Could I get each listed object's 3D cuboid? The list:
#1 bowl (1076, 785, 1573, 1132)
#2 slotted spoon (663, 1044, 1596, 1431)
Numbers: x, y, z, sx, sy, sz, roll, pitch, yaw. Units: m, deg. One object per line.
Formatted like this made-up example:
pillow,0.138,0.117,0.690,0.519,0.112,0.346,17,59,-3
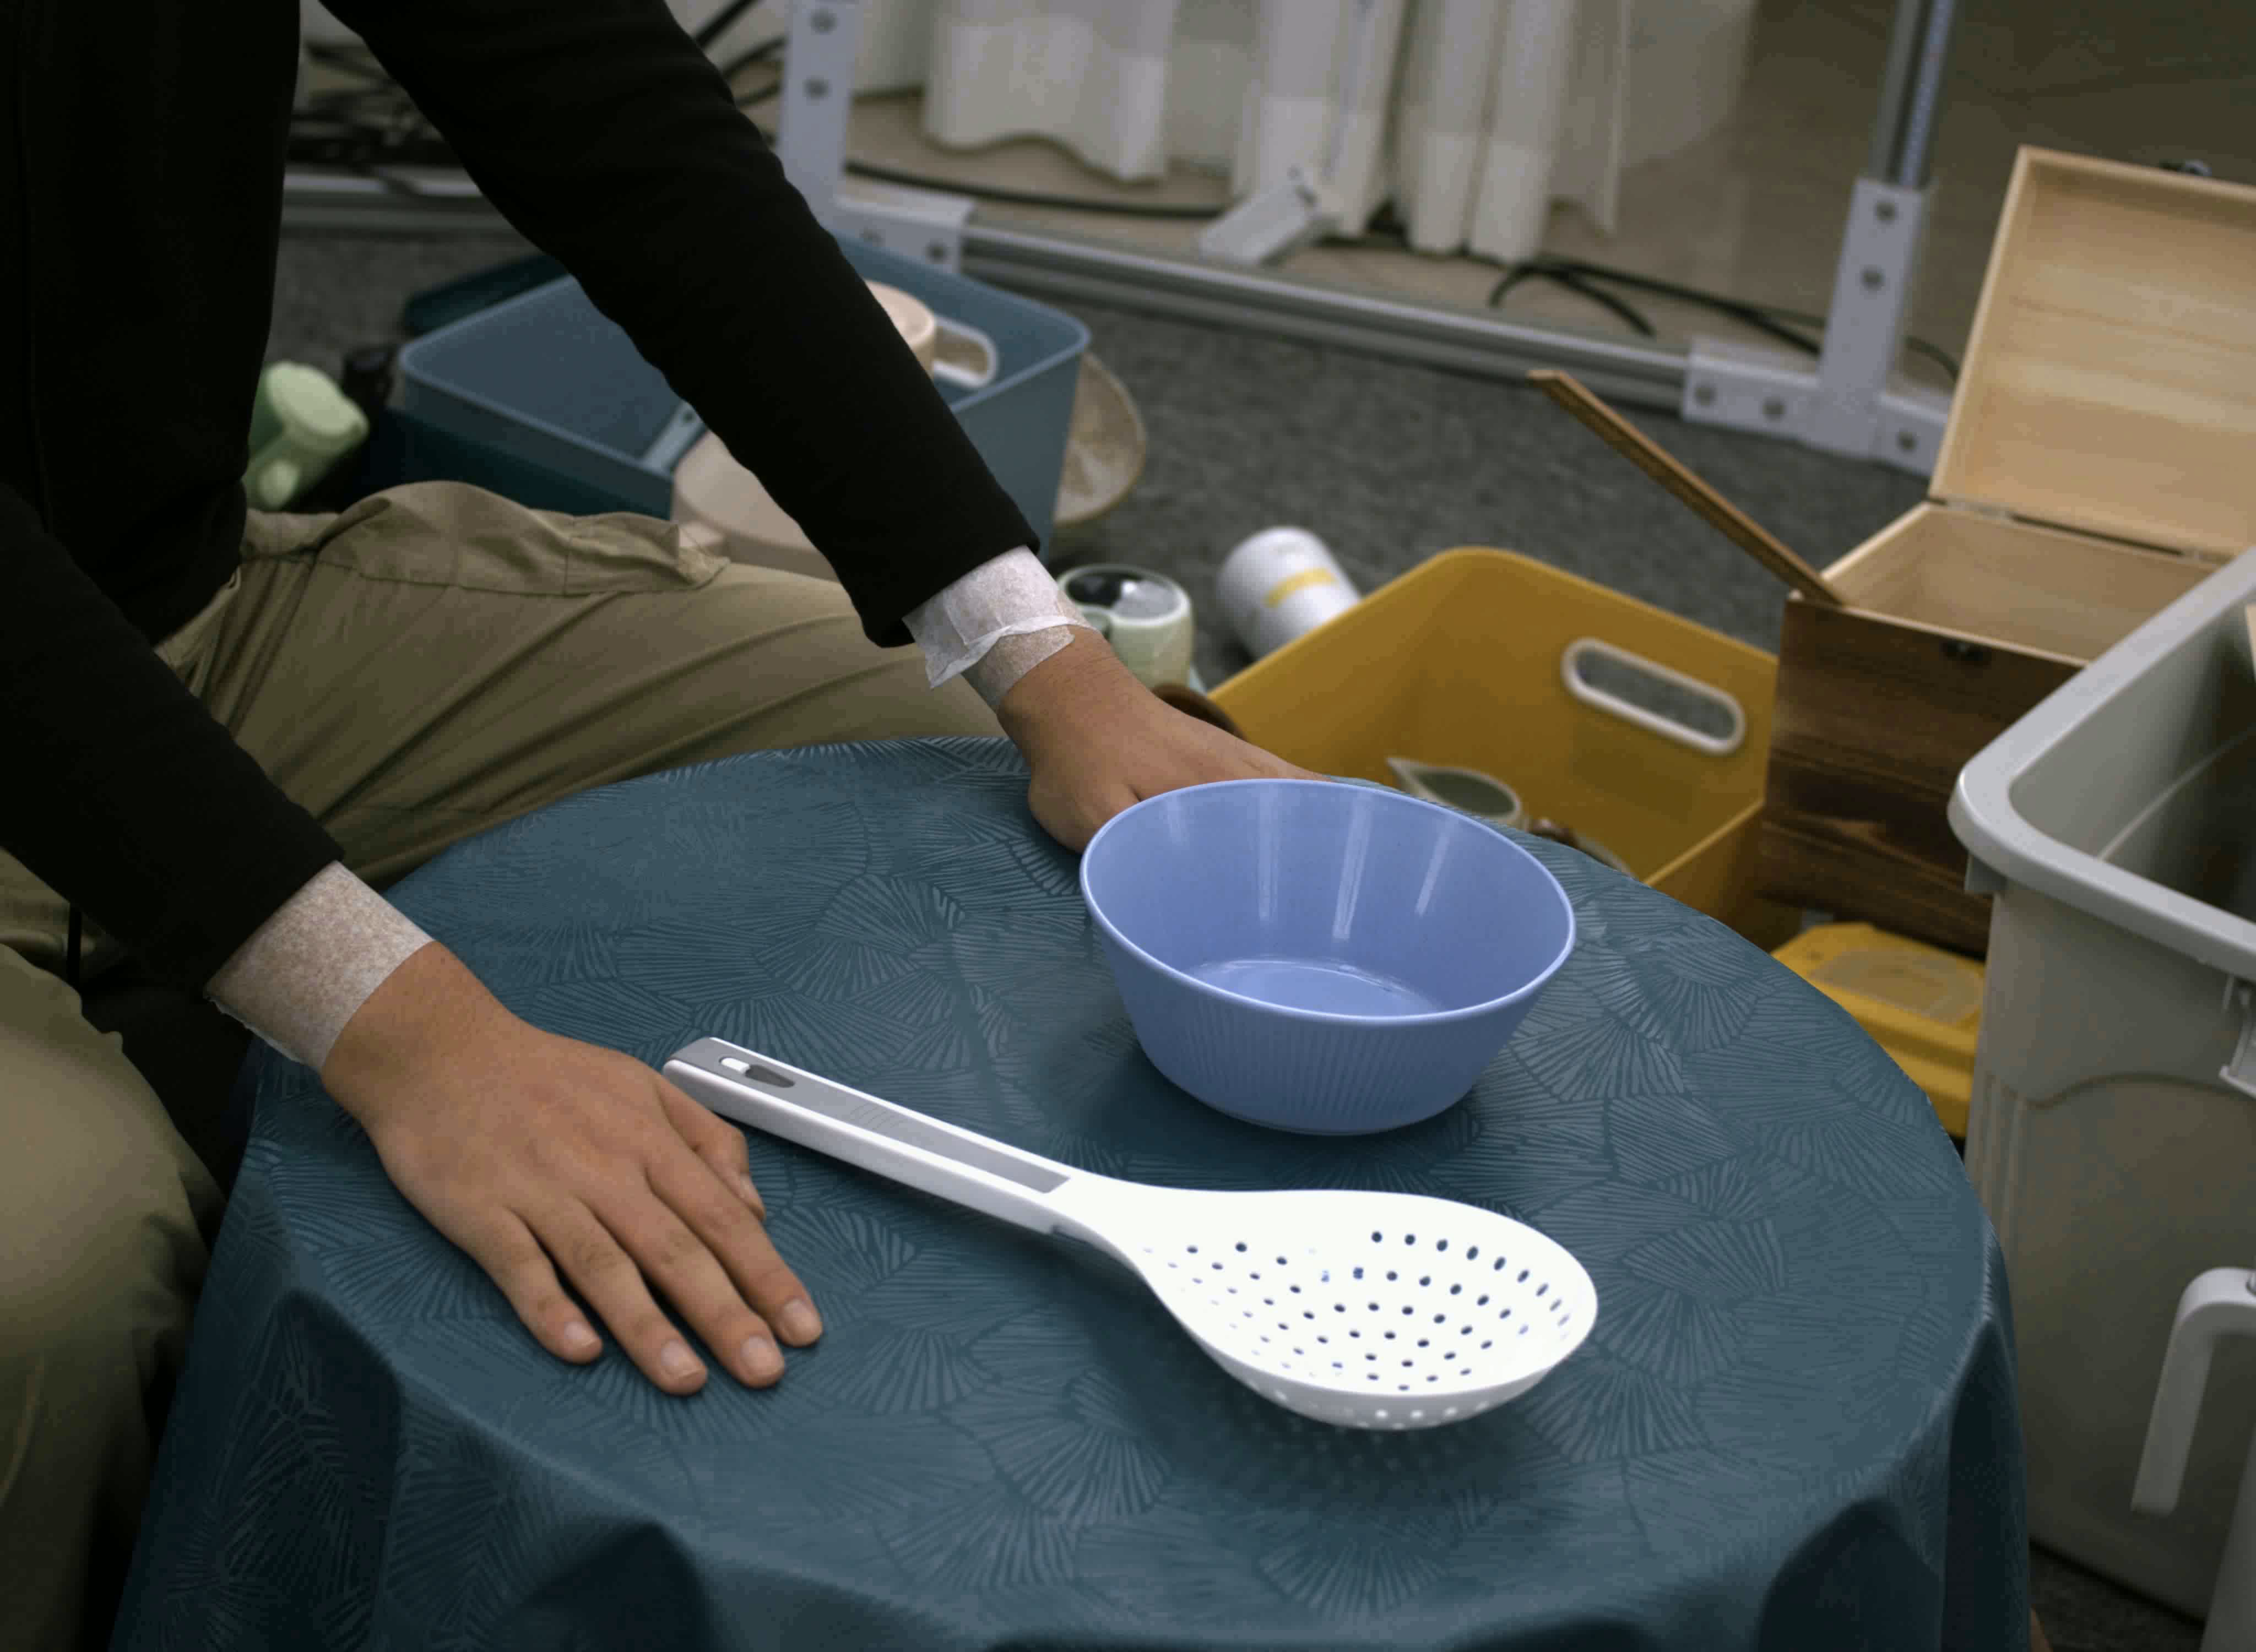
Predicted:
bowl,0.066,0.052,1.880,0.175,0.070,0.177,4,26,-2
slotted spoon,-0.010,0.127,1.743,0.351,0.045,0.135,21,30,28
